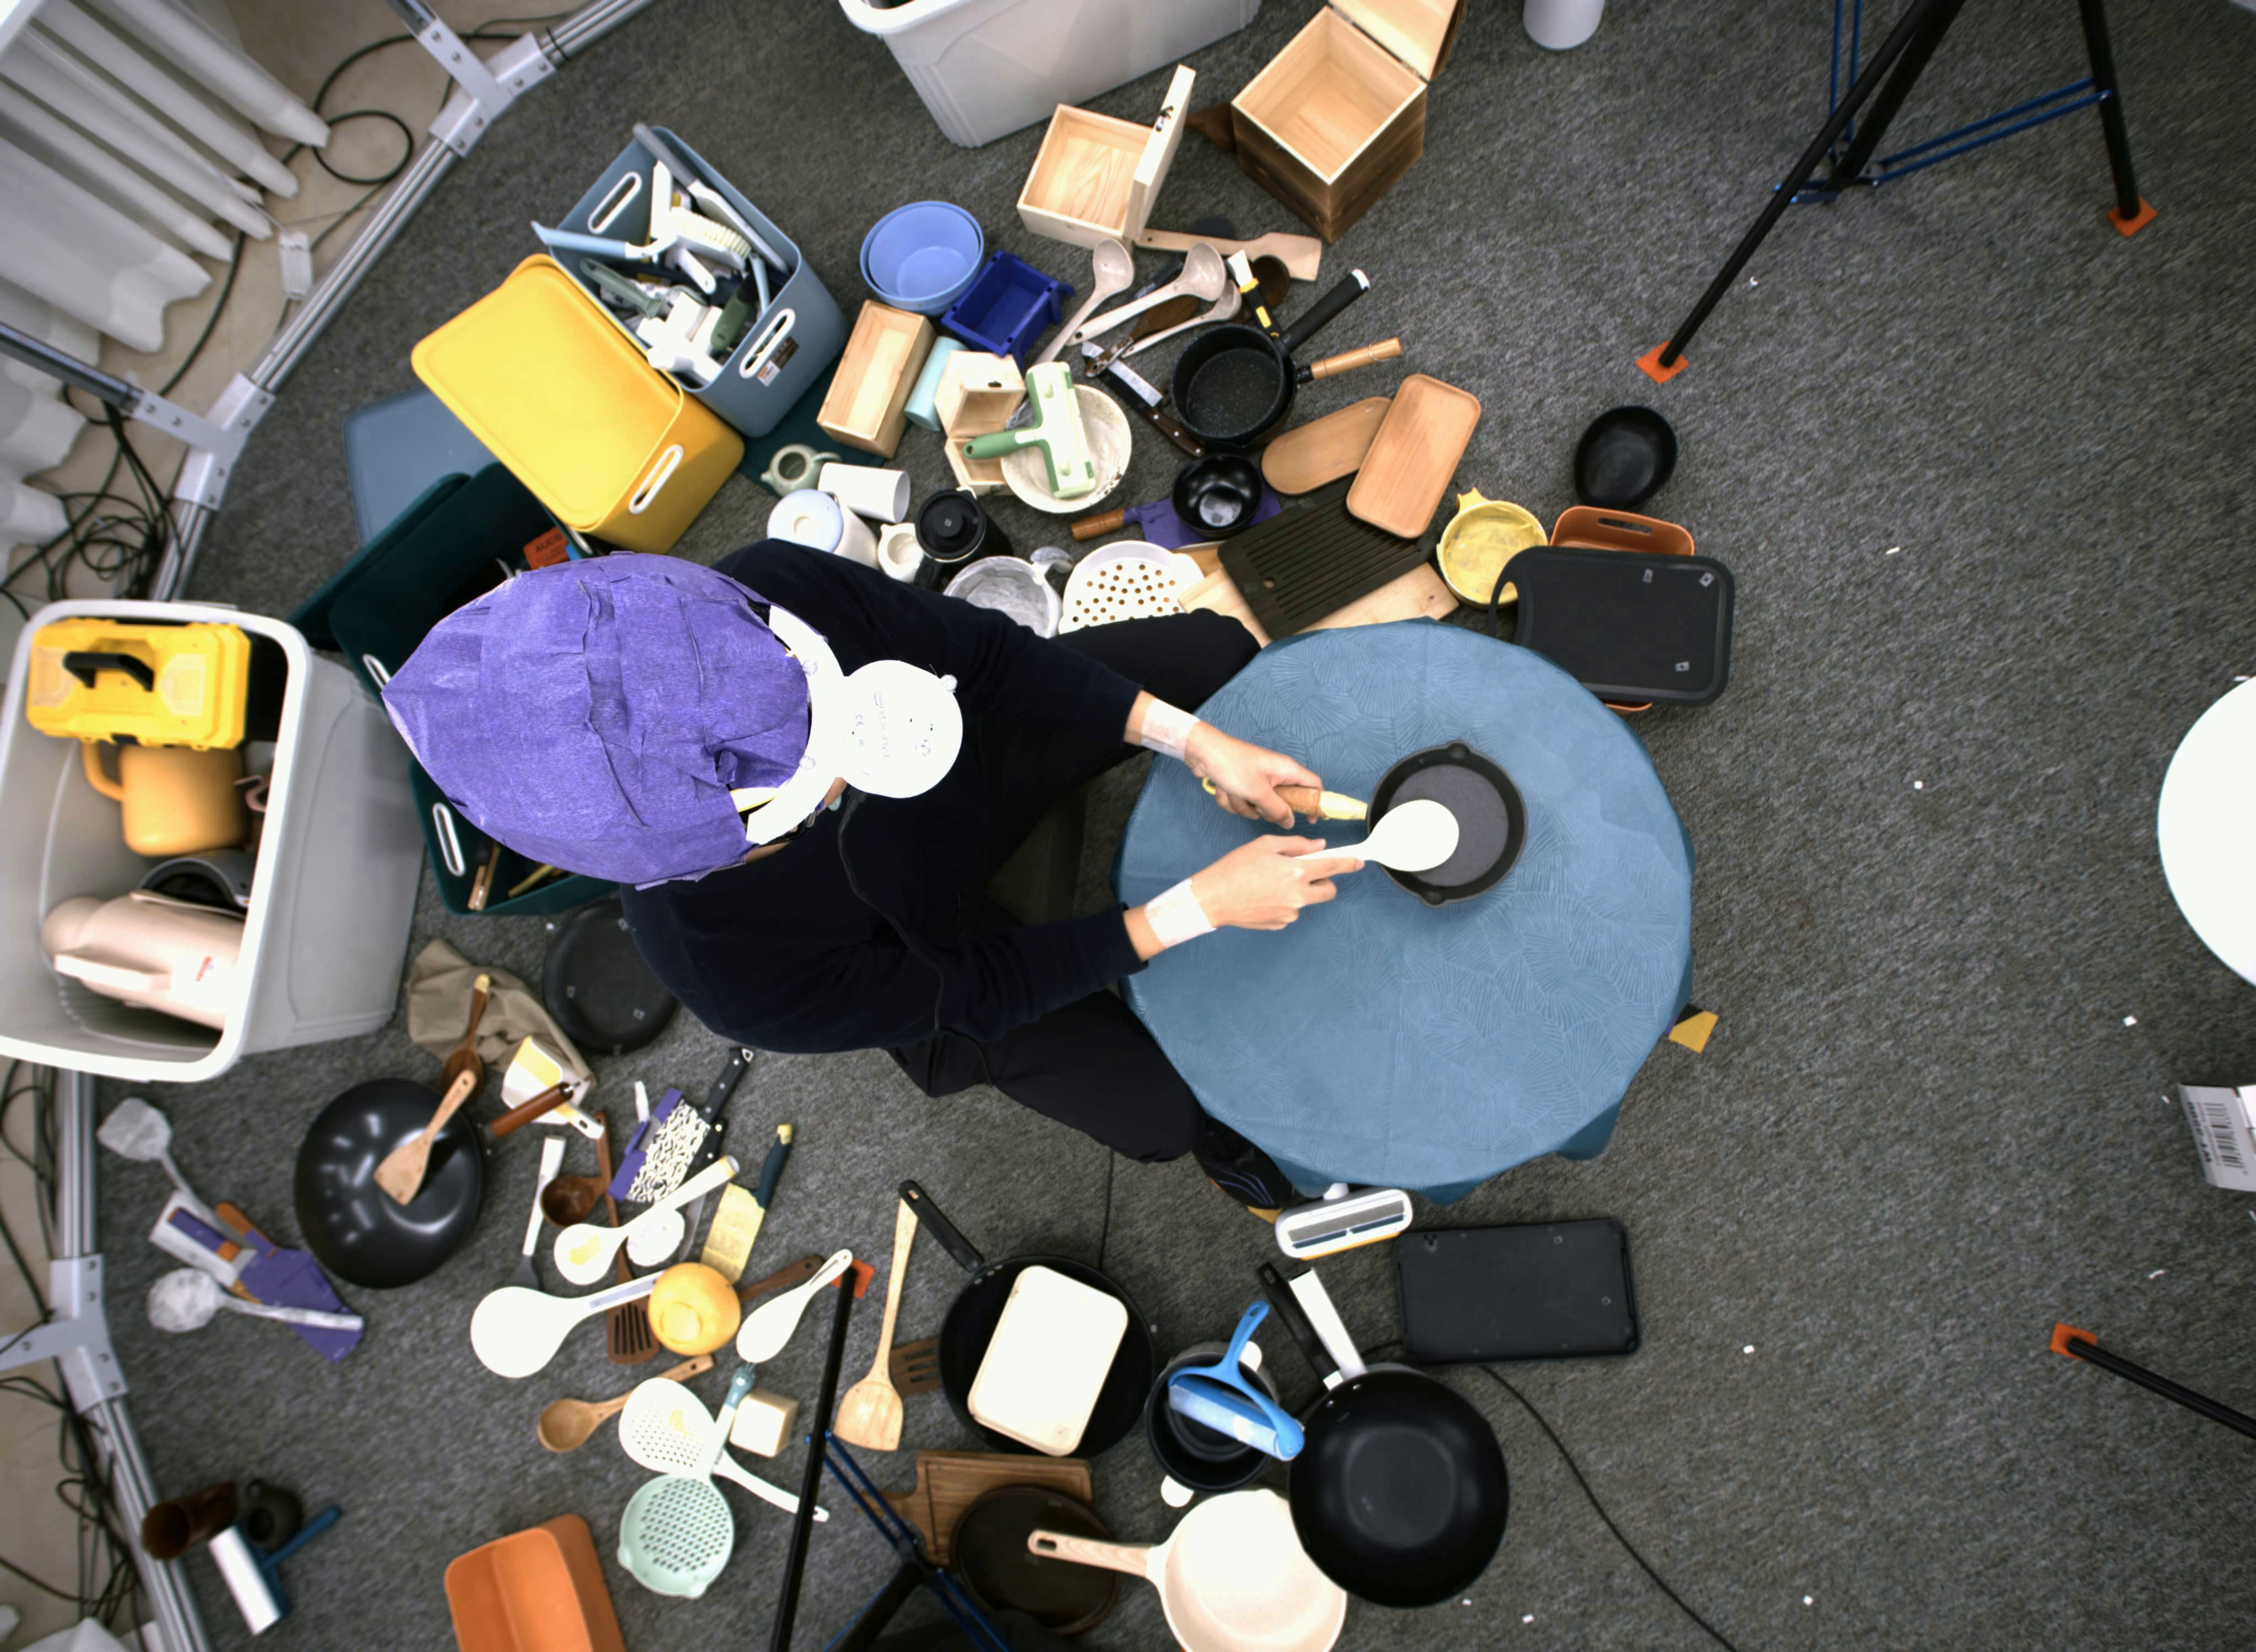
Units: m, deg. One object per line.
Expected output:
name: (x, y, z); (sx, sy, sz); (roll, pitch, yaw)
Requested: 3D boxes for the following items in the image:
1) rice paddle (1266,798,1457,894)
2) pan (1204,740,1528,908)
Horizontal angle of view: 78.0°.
rice paddle: (0.236, 0.022, 1.365); (0.204, 0.029, 0.068); (-17, 89, -11)
pan: (0.237, -0.020, 1.387); (0.325, 0.049, 0.169); (12, 92, 11)
